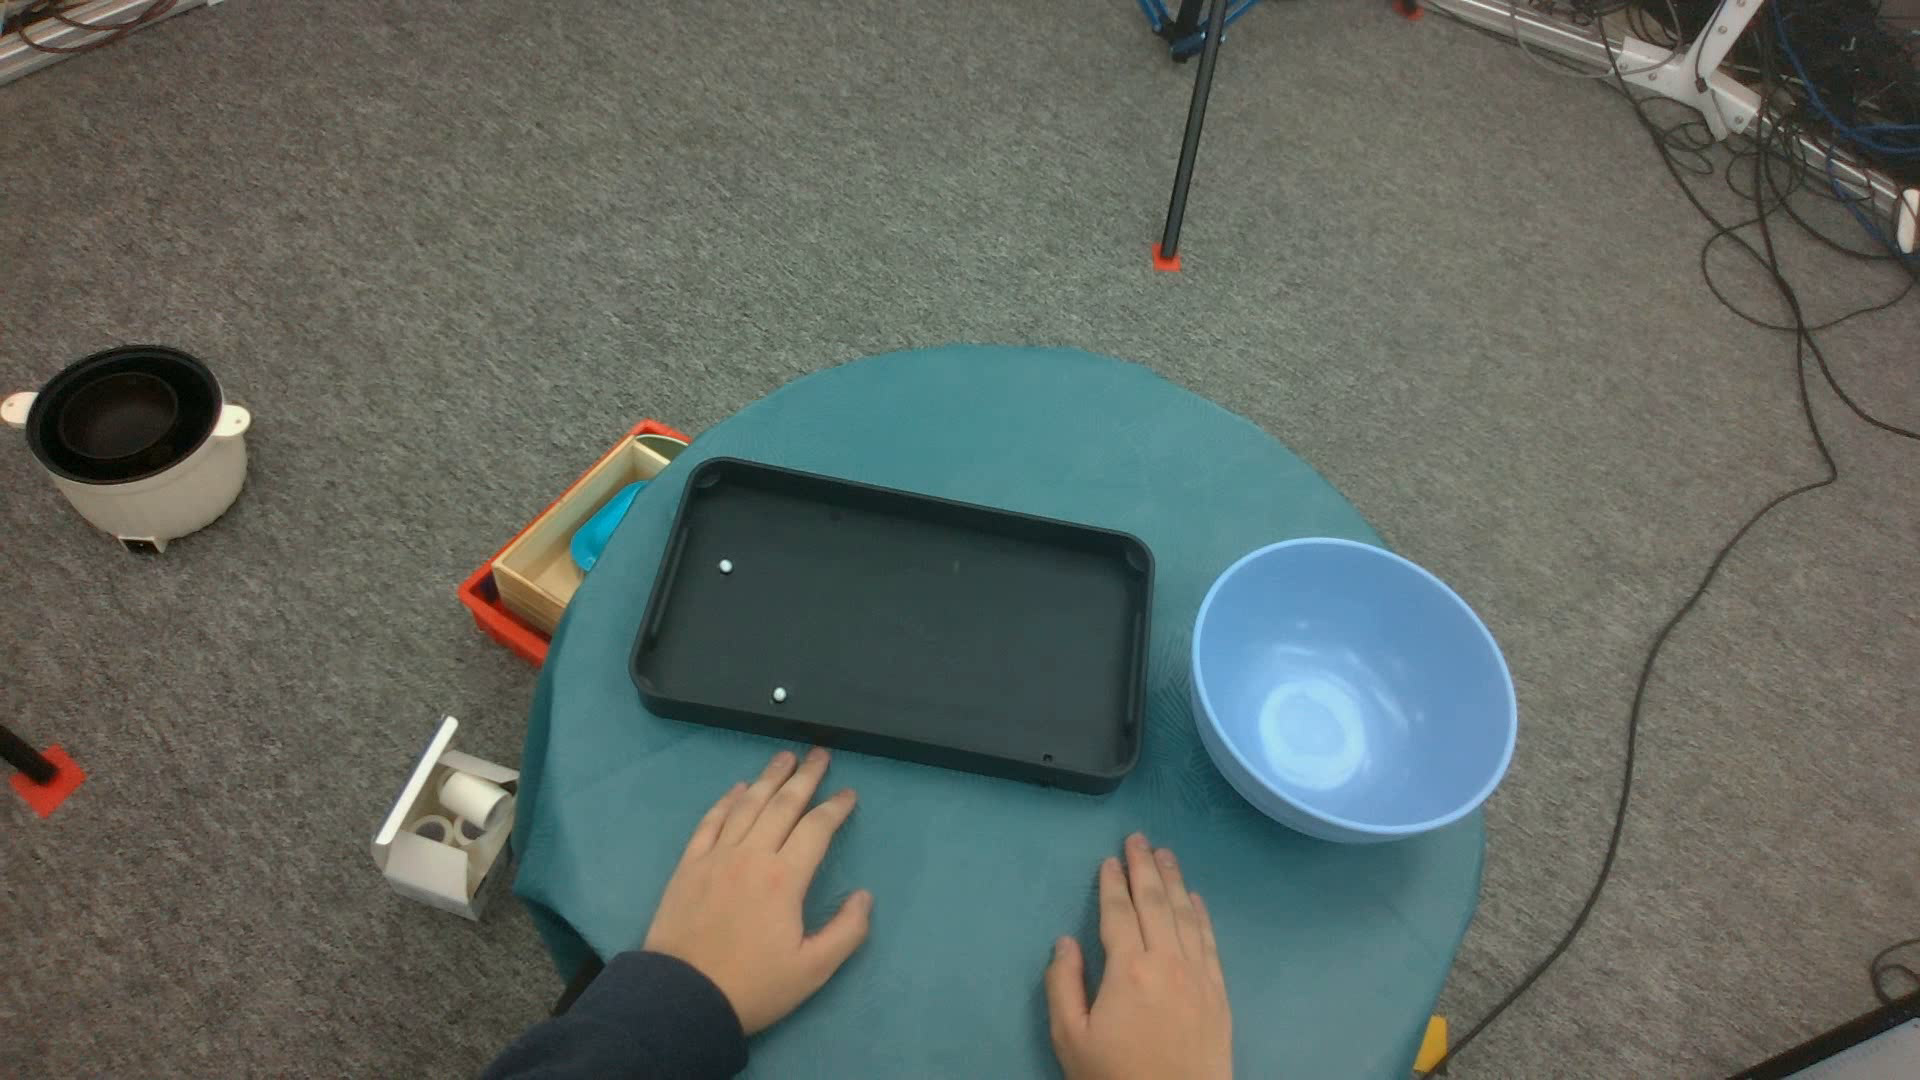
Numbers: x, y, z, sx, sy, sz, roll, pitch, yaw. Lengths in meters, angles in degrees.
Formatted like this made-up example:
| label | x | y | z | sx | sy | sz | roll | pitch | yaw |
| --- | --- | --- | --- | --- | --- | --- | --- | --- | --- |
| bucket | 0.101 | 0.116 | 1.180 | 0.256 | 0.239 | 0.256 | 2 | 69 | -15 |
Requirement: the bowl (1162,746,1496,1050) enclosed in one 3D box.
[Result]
| label | x | y | z | sx | sy | sz | roll | pitch | yaw |
| --- | --- | --- | --- | --- | --- | --- | --- | --- | --- |
| bowl | 0.219 | 0.234 | 0.854 | 0.196 | 0.095 | 0.197 | 0 | 41 | 0 |

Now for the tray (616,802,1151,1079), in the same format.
| label | x | y | z | sx | sy | sz | roll | pitch | yaw |
| --- | --- | --- | --- | --- | --- | --- | --- | --- | --- |
| tray | -0.050 | 0.264 | 0.876 | 0.318 | 0.037 | 0.185 | -5 | 43 | -3 |
